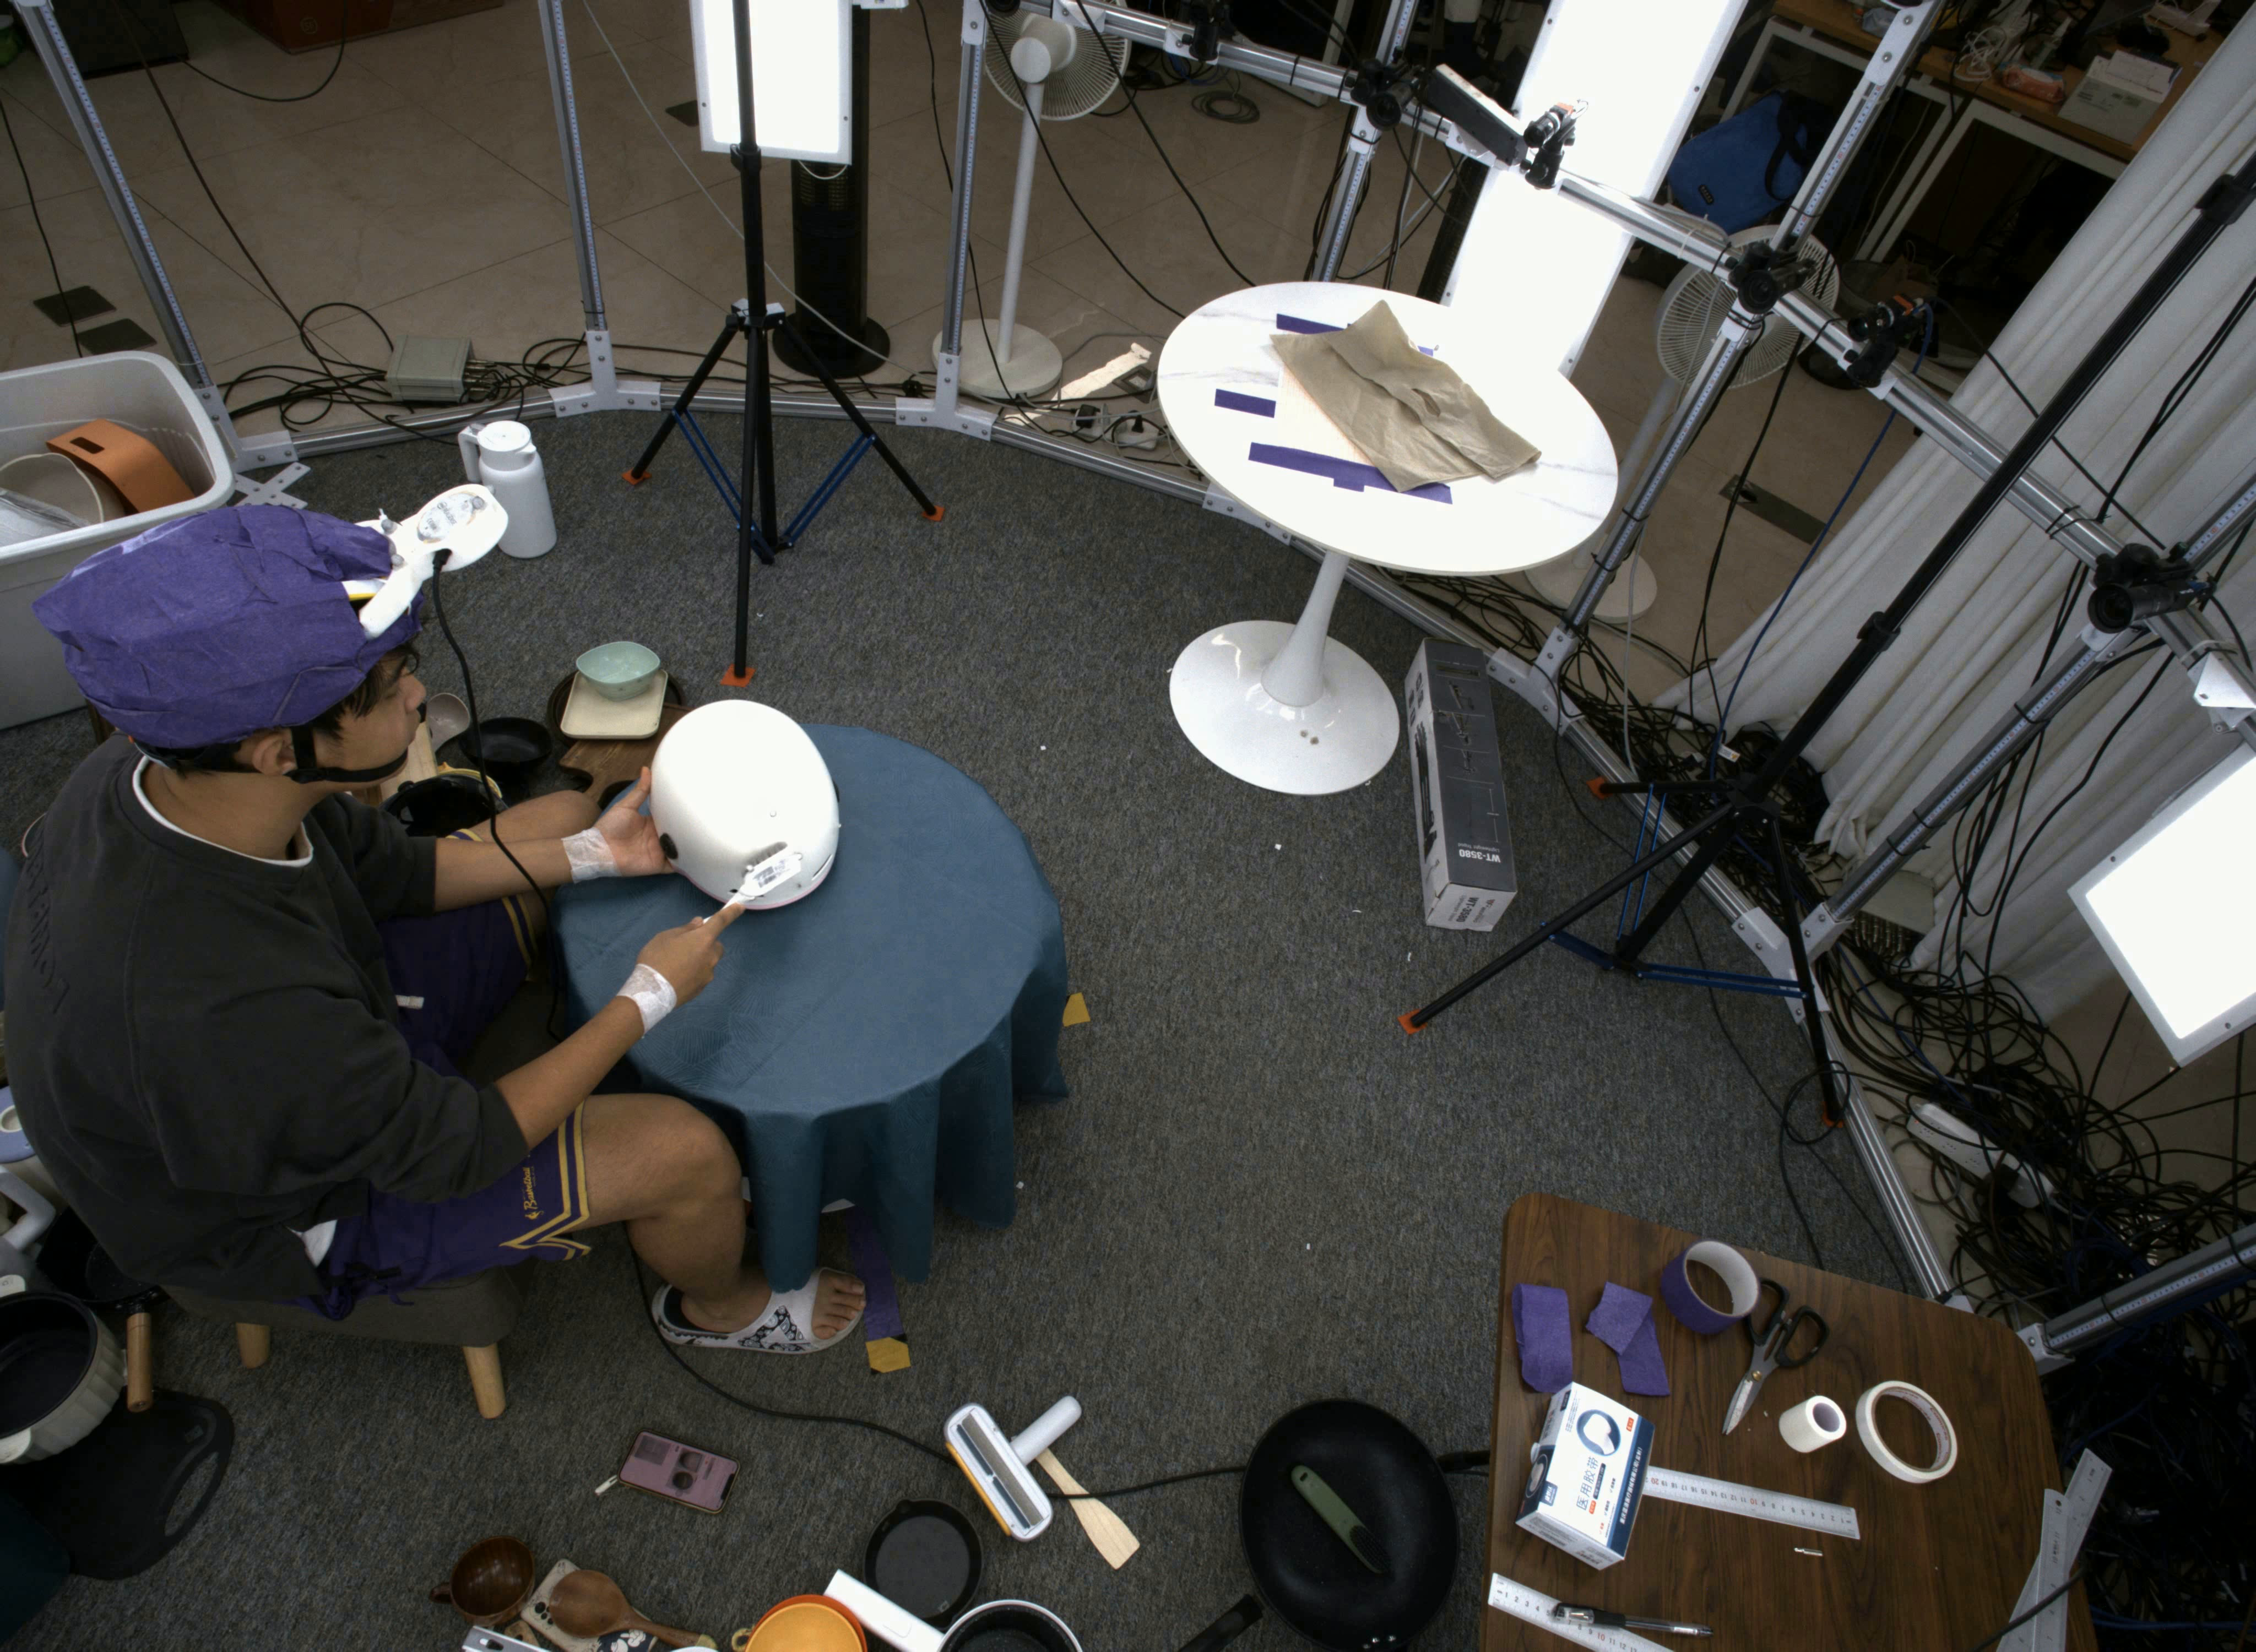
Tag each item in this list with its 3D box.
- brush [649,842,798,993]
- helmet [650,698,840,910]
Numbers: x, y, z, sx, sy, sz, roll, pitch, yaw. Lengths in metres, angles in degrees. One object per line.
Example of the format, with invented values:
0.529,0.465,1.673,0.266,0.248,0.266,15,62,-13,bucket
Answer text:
-0.477,0.101,1.501,0.048,0.036,0.243,9,43,36,brush
-0.484,-0.049,1.637,0.239,0.170,0.262,-21,60,-31,helmet
